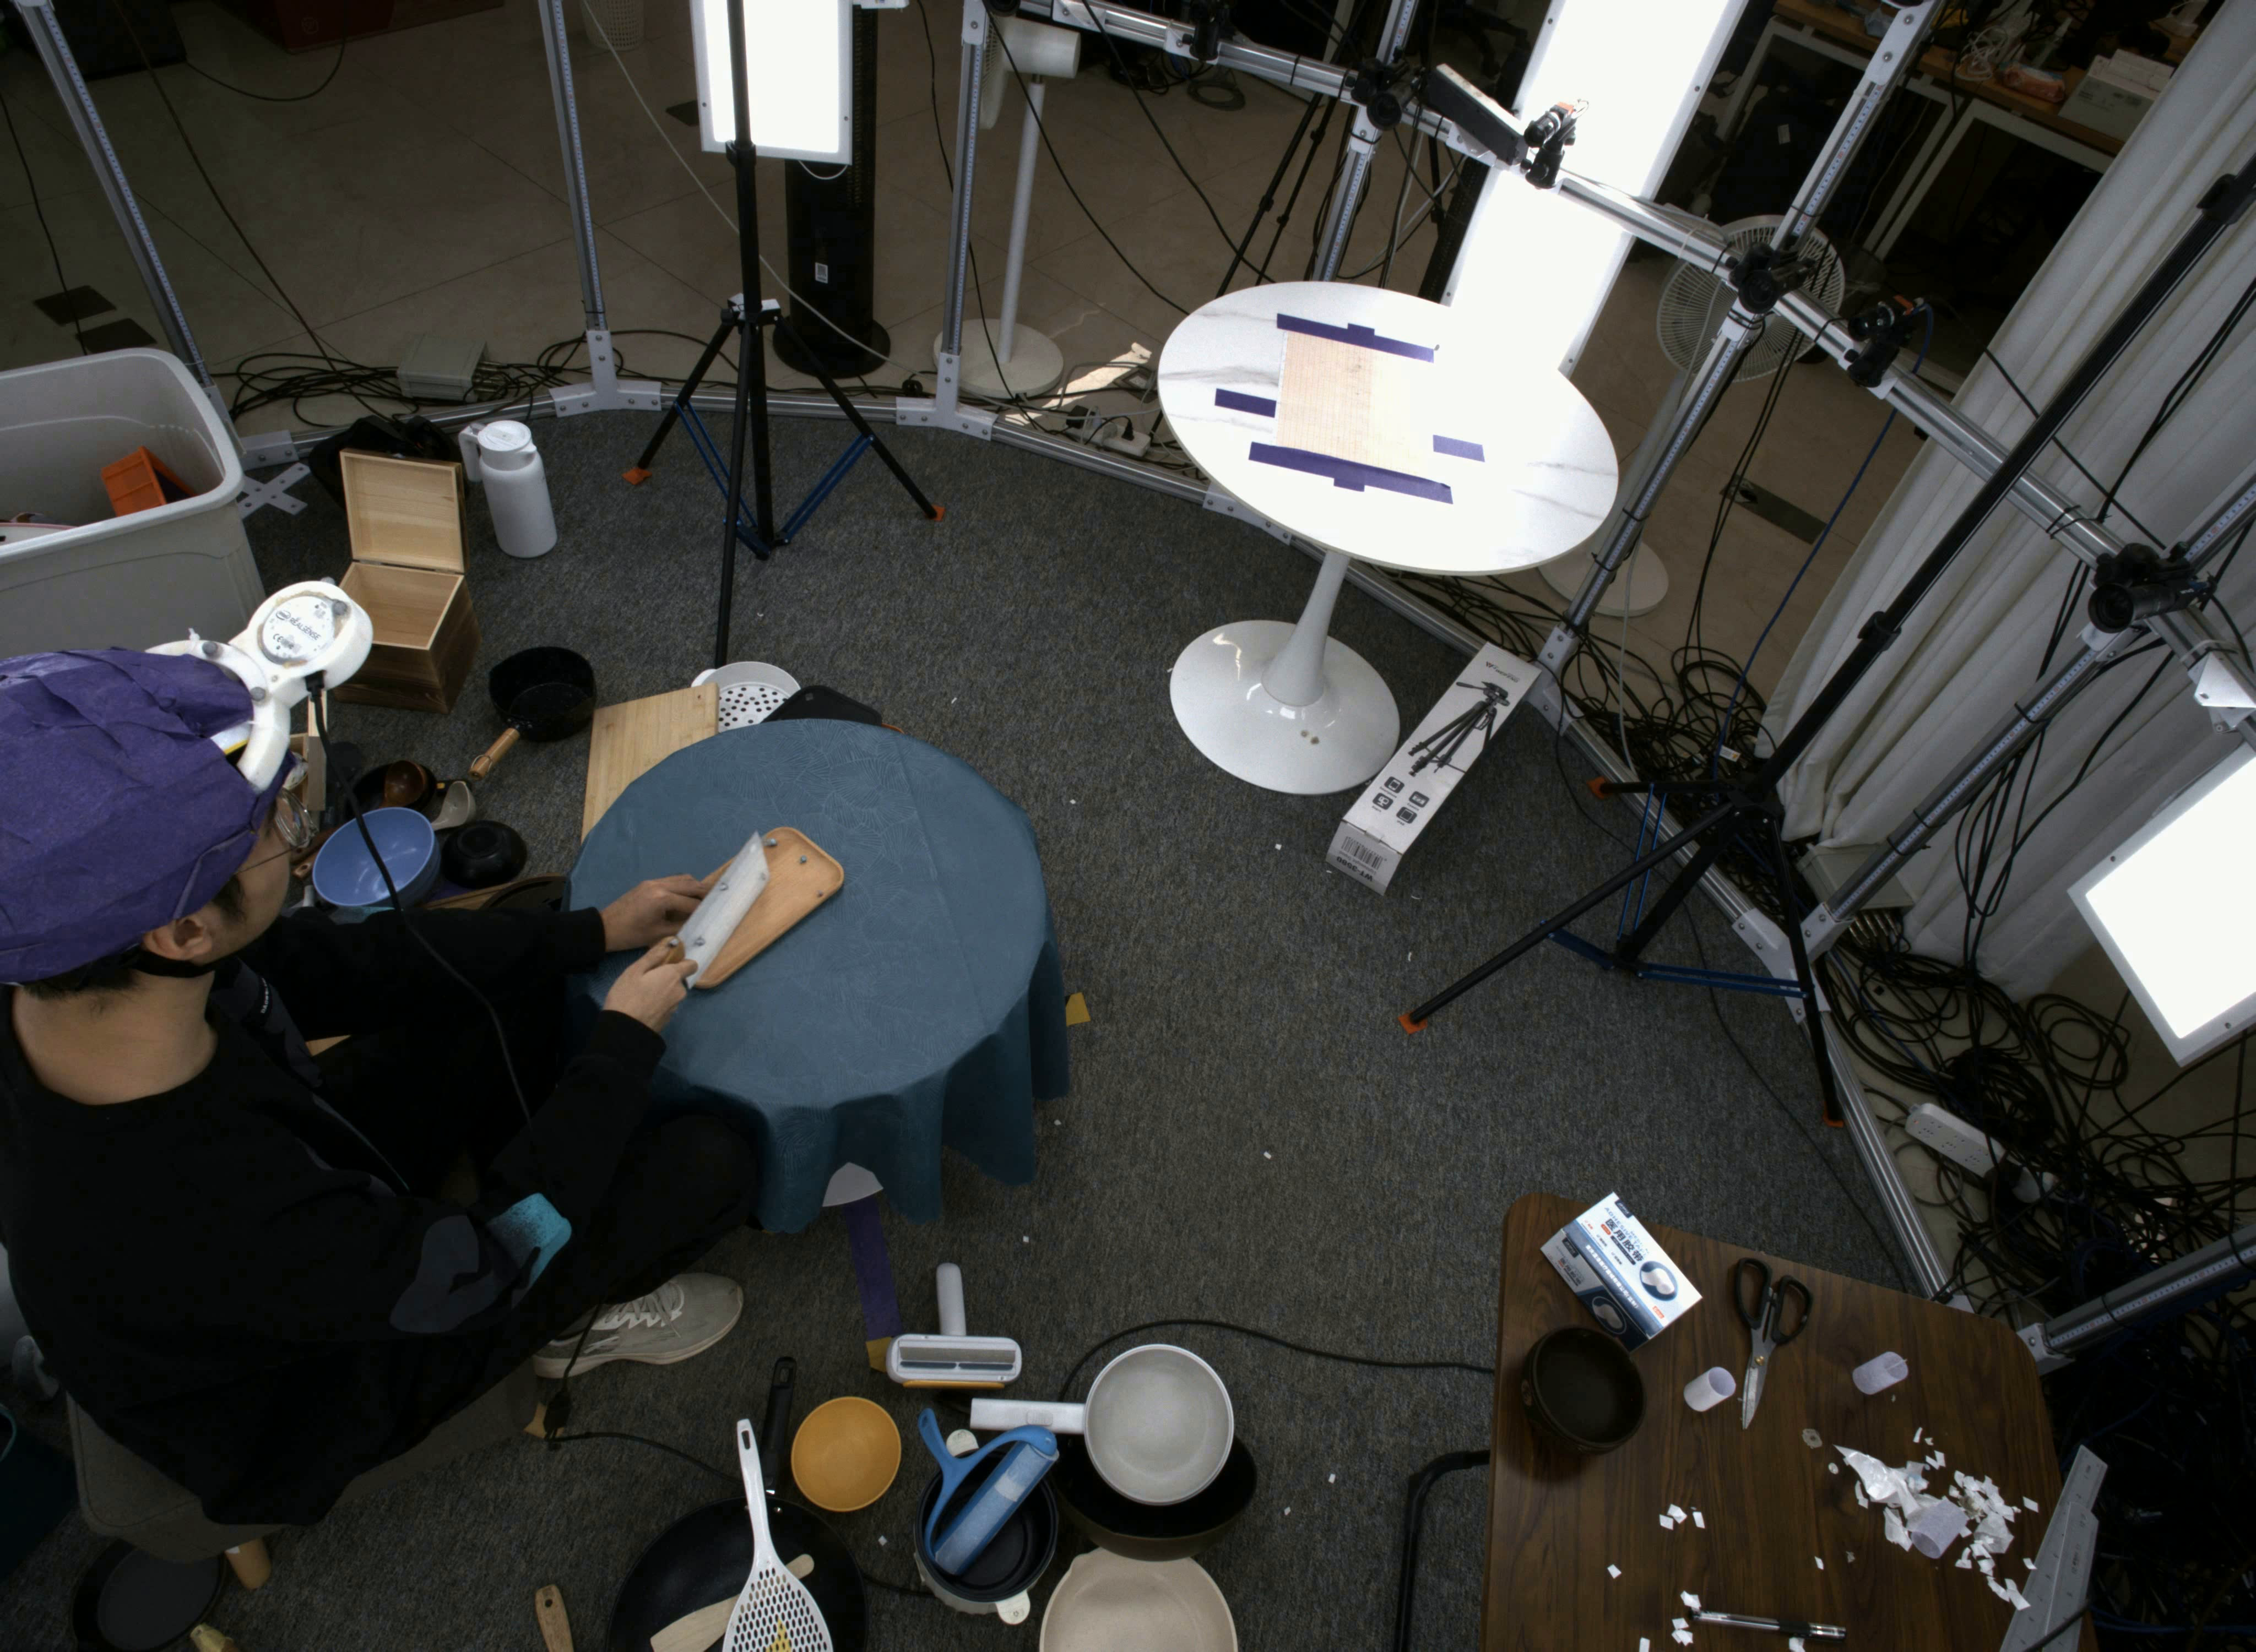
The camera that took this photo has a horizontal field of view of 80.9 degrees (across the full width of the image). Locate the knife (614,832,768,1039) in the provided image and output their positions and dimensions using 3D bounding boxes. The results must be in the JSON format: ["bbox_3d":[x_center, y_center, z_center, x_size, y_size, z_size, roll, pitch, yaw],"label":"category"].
[{"bbox_3d":[-0.501,0.136,1.501,0.020,0.096,0.303,14,47,14],"label":"knife"}]

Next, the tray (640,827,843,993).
[{"bbox_3d":[-0.480,0.100,1.614,0.127,0.023,0.251,37,54,16],"label":"tray"}]
